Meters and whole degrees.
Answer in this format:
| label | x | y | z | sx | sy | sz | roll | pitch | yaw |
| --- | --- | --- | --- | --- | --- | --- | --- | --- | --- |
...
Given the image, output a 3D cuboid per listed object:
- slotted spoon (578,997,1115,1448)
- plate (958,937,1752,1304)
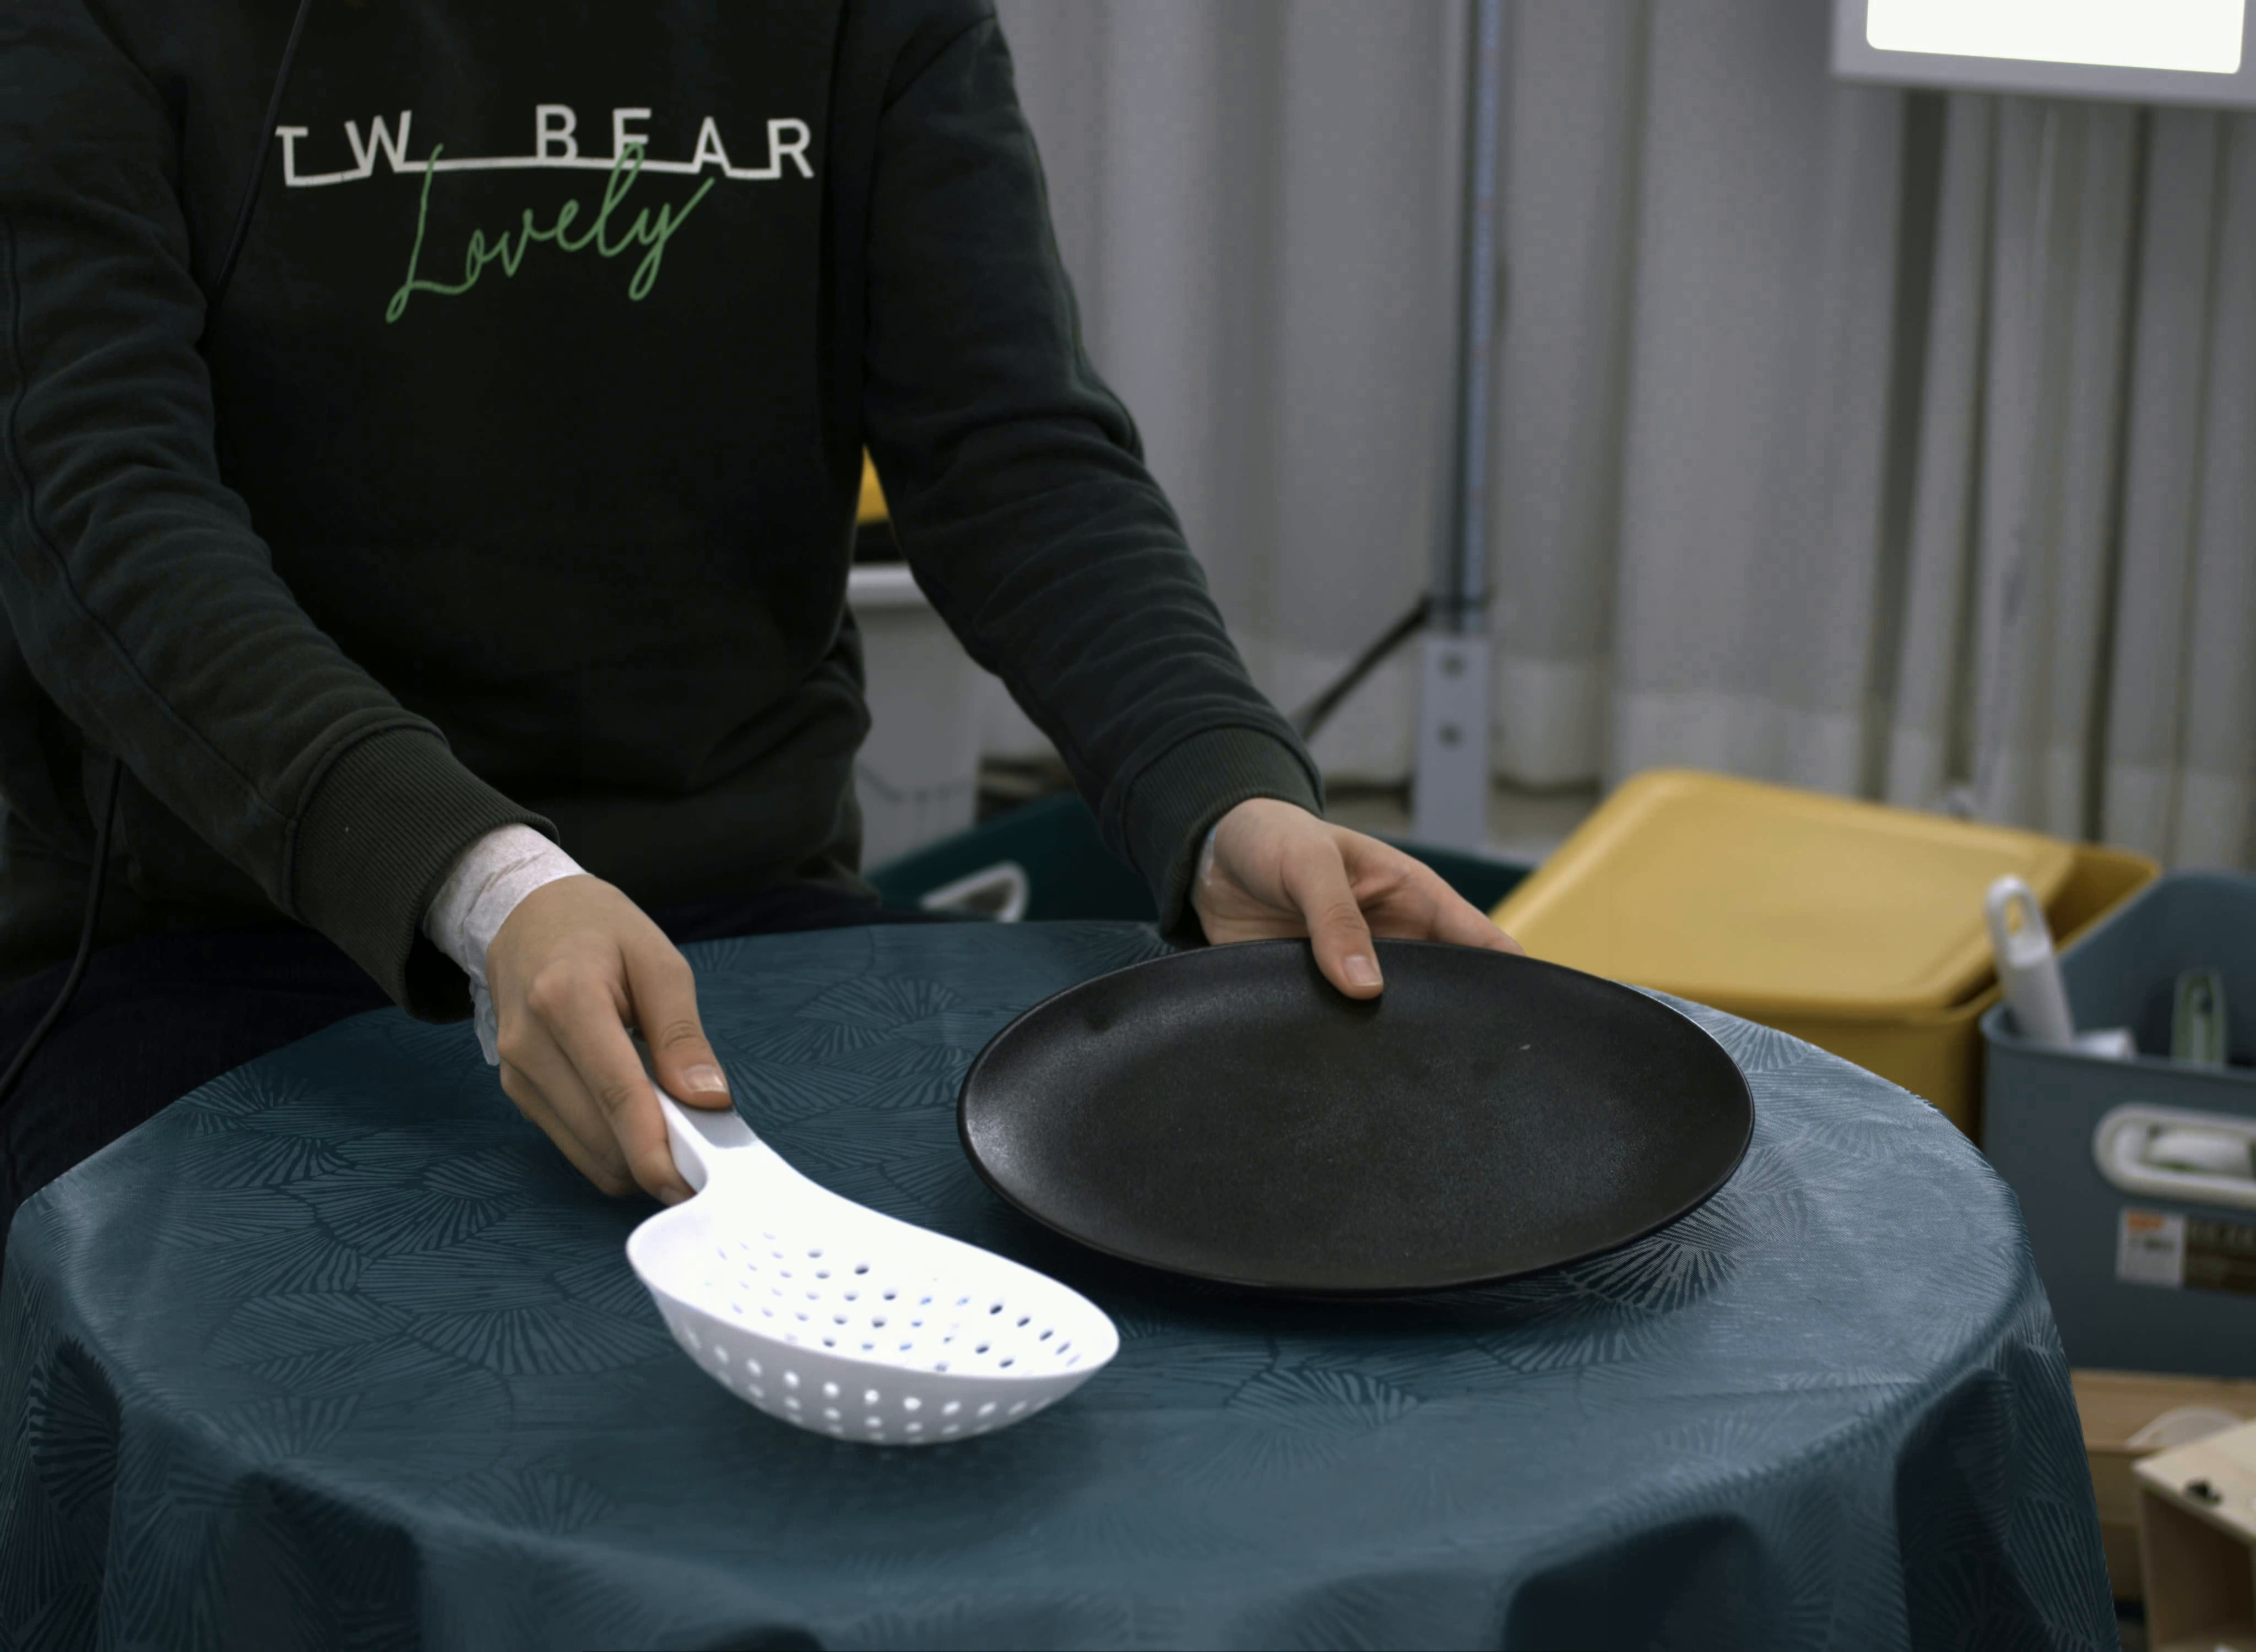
| label | x | y | z | sx | sy | sz | roll | pitch | yaw |
| --- | --- | --- | --- | --- | --- | --- | --- | --- | --- |
| slotted spoon | -0.107 | 0.106 | 1.522 | 0.137 | 0.046 | 0.345 | 9 | 16 | -22 |
| plate | 0.069 | 0.093 | 1.613 | 0.243 | 0.023 | 0.242 | 0 | 24 | 0 |
